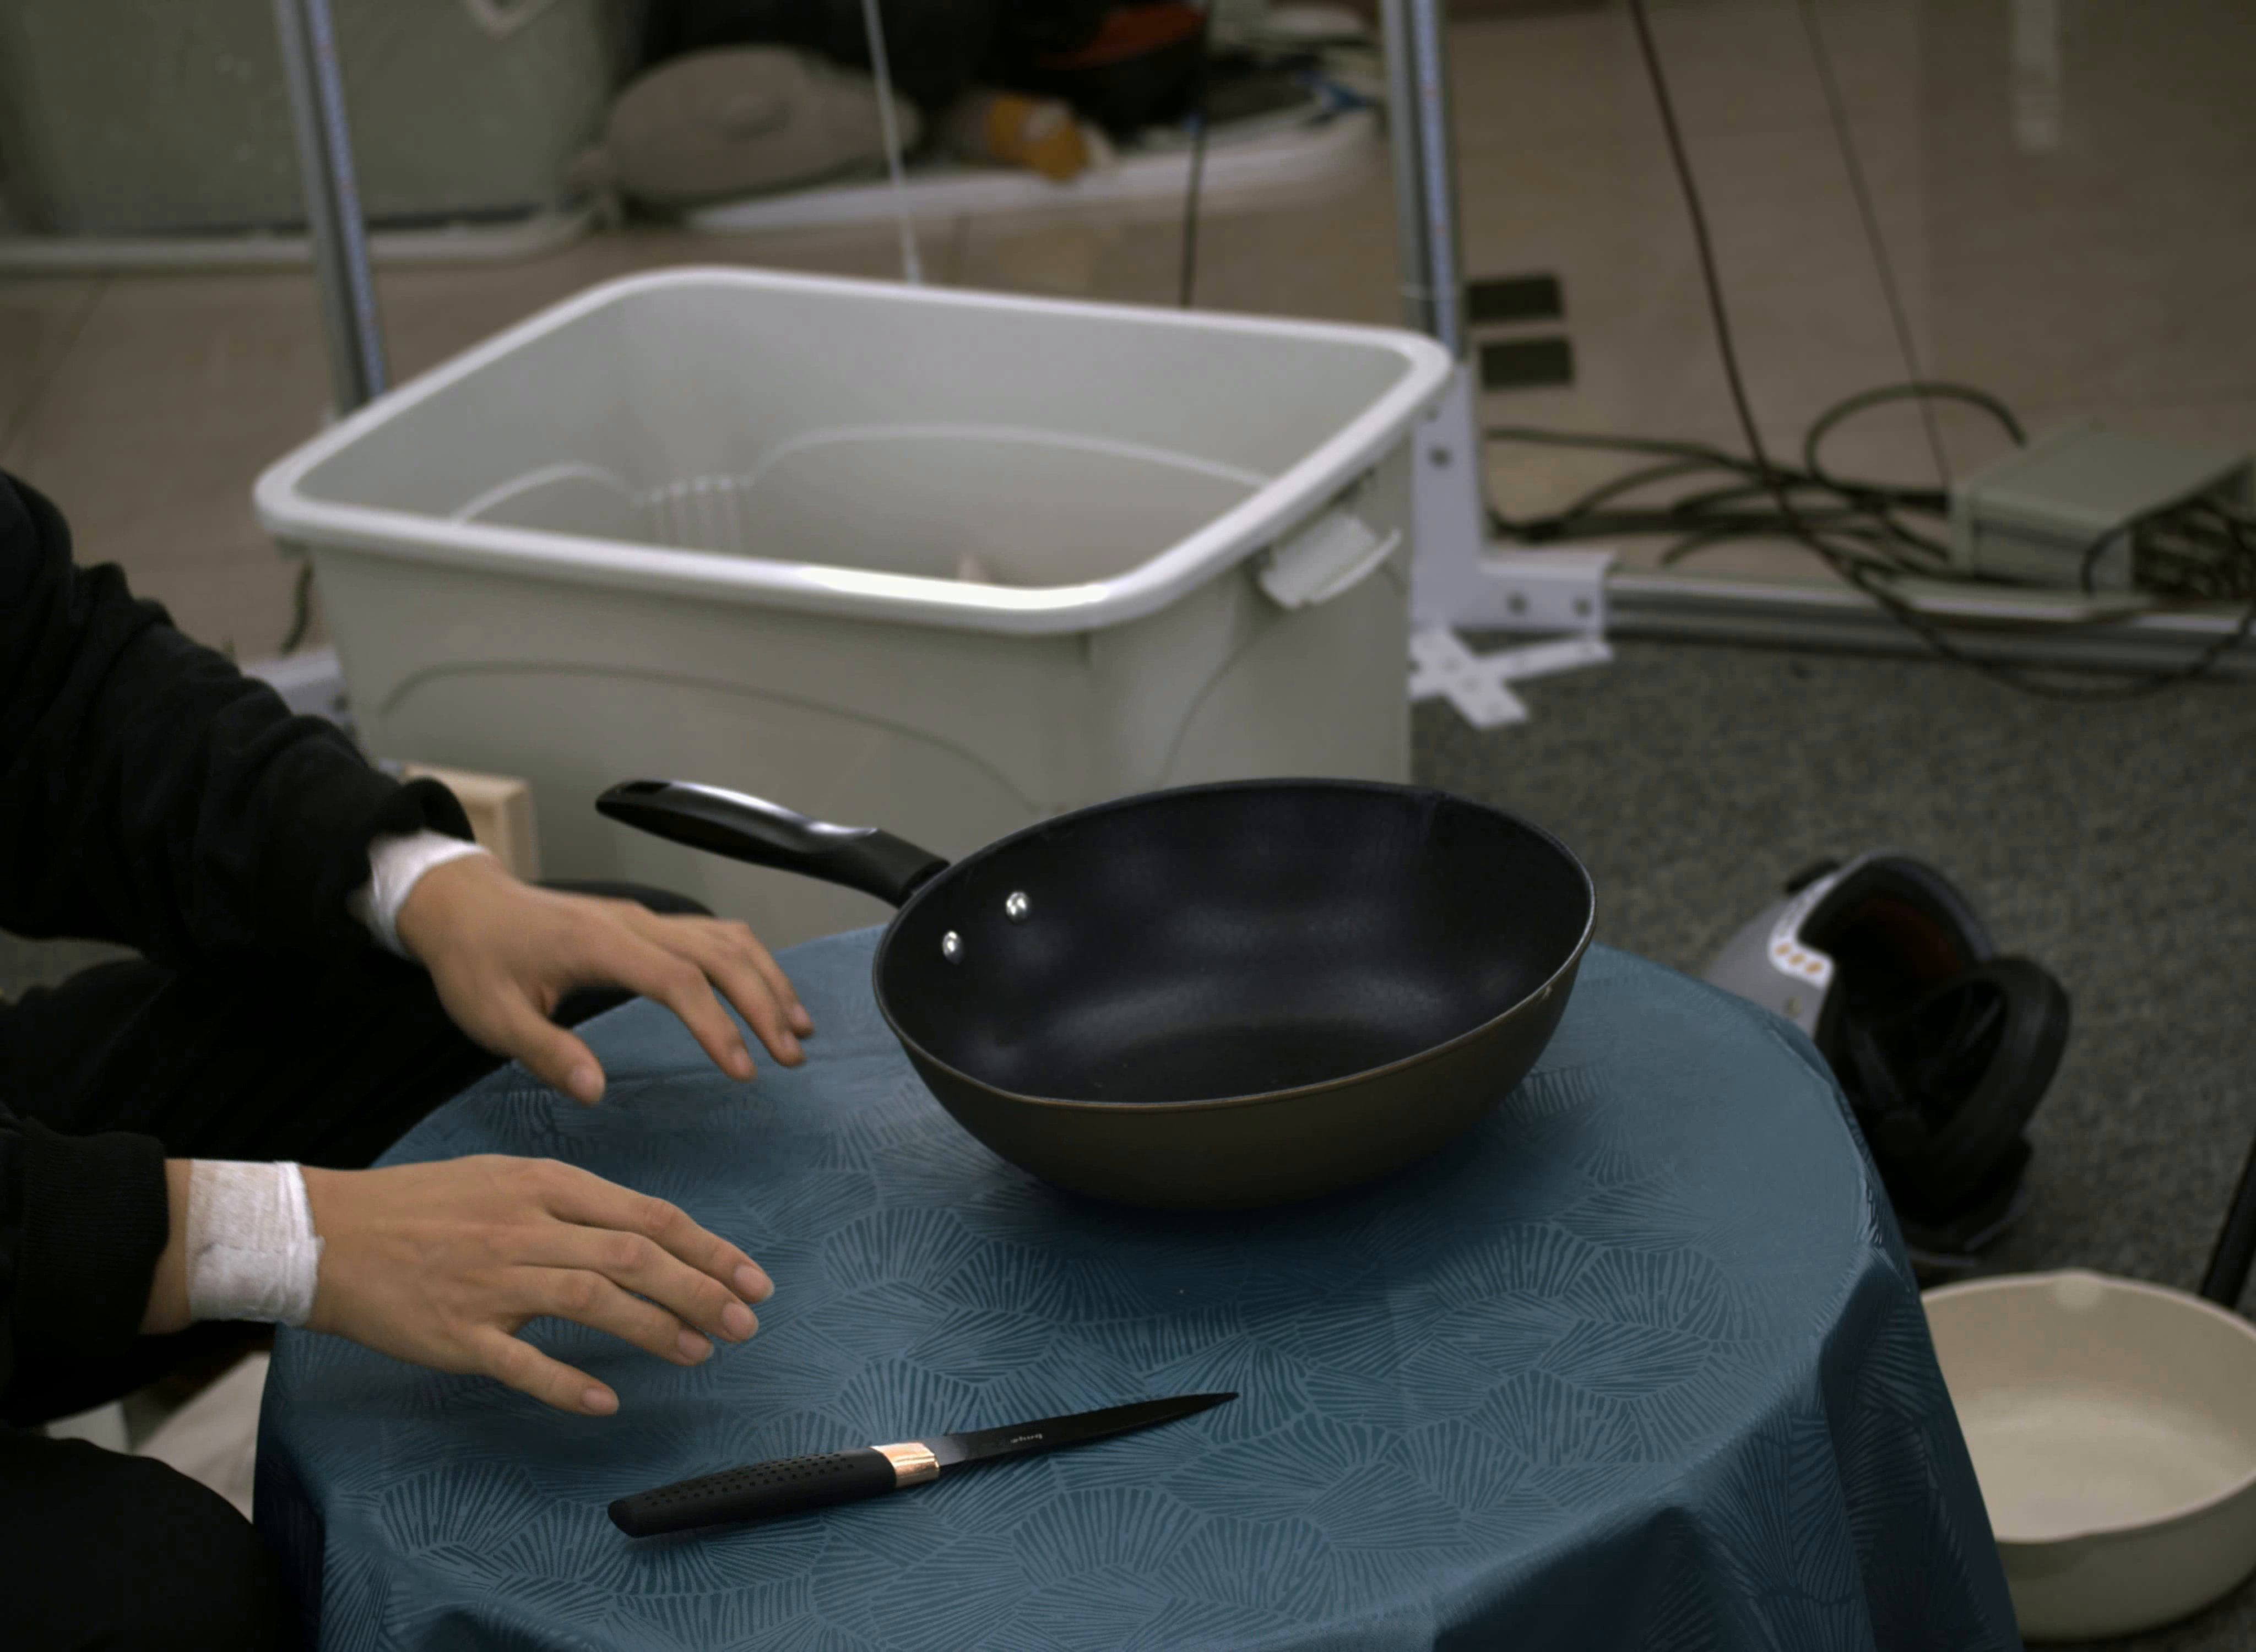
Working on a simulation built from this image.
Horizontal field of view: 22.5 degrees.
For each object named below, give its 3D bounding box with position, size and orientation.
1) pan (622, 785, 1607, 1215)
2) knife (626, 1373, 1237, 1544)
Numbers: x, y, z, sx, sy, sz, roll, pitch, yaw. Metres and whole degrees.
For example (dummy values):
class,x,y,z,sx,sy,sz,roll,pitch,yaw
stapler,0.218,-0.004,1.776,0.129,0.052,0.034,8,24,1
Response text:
class,x,y,z,sx,sy,sz,roll,pitch,yaw
pan,-0.025,0.061,2.228,0.461,0.088,0.285,12,31,37
knife,-0.067,0.219,1.984,0.225,0.017,0.026,-12,14,-13
